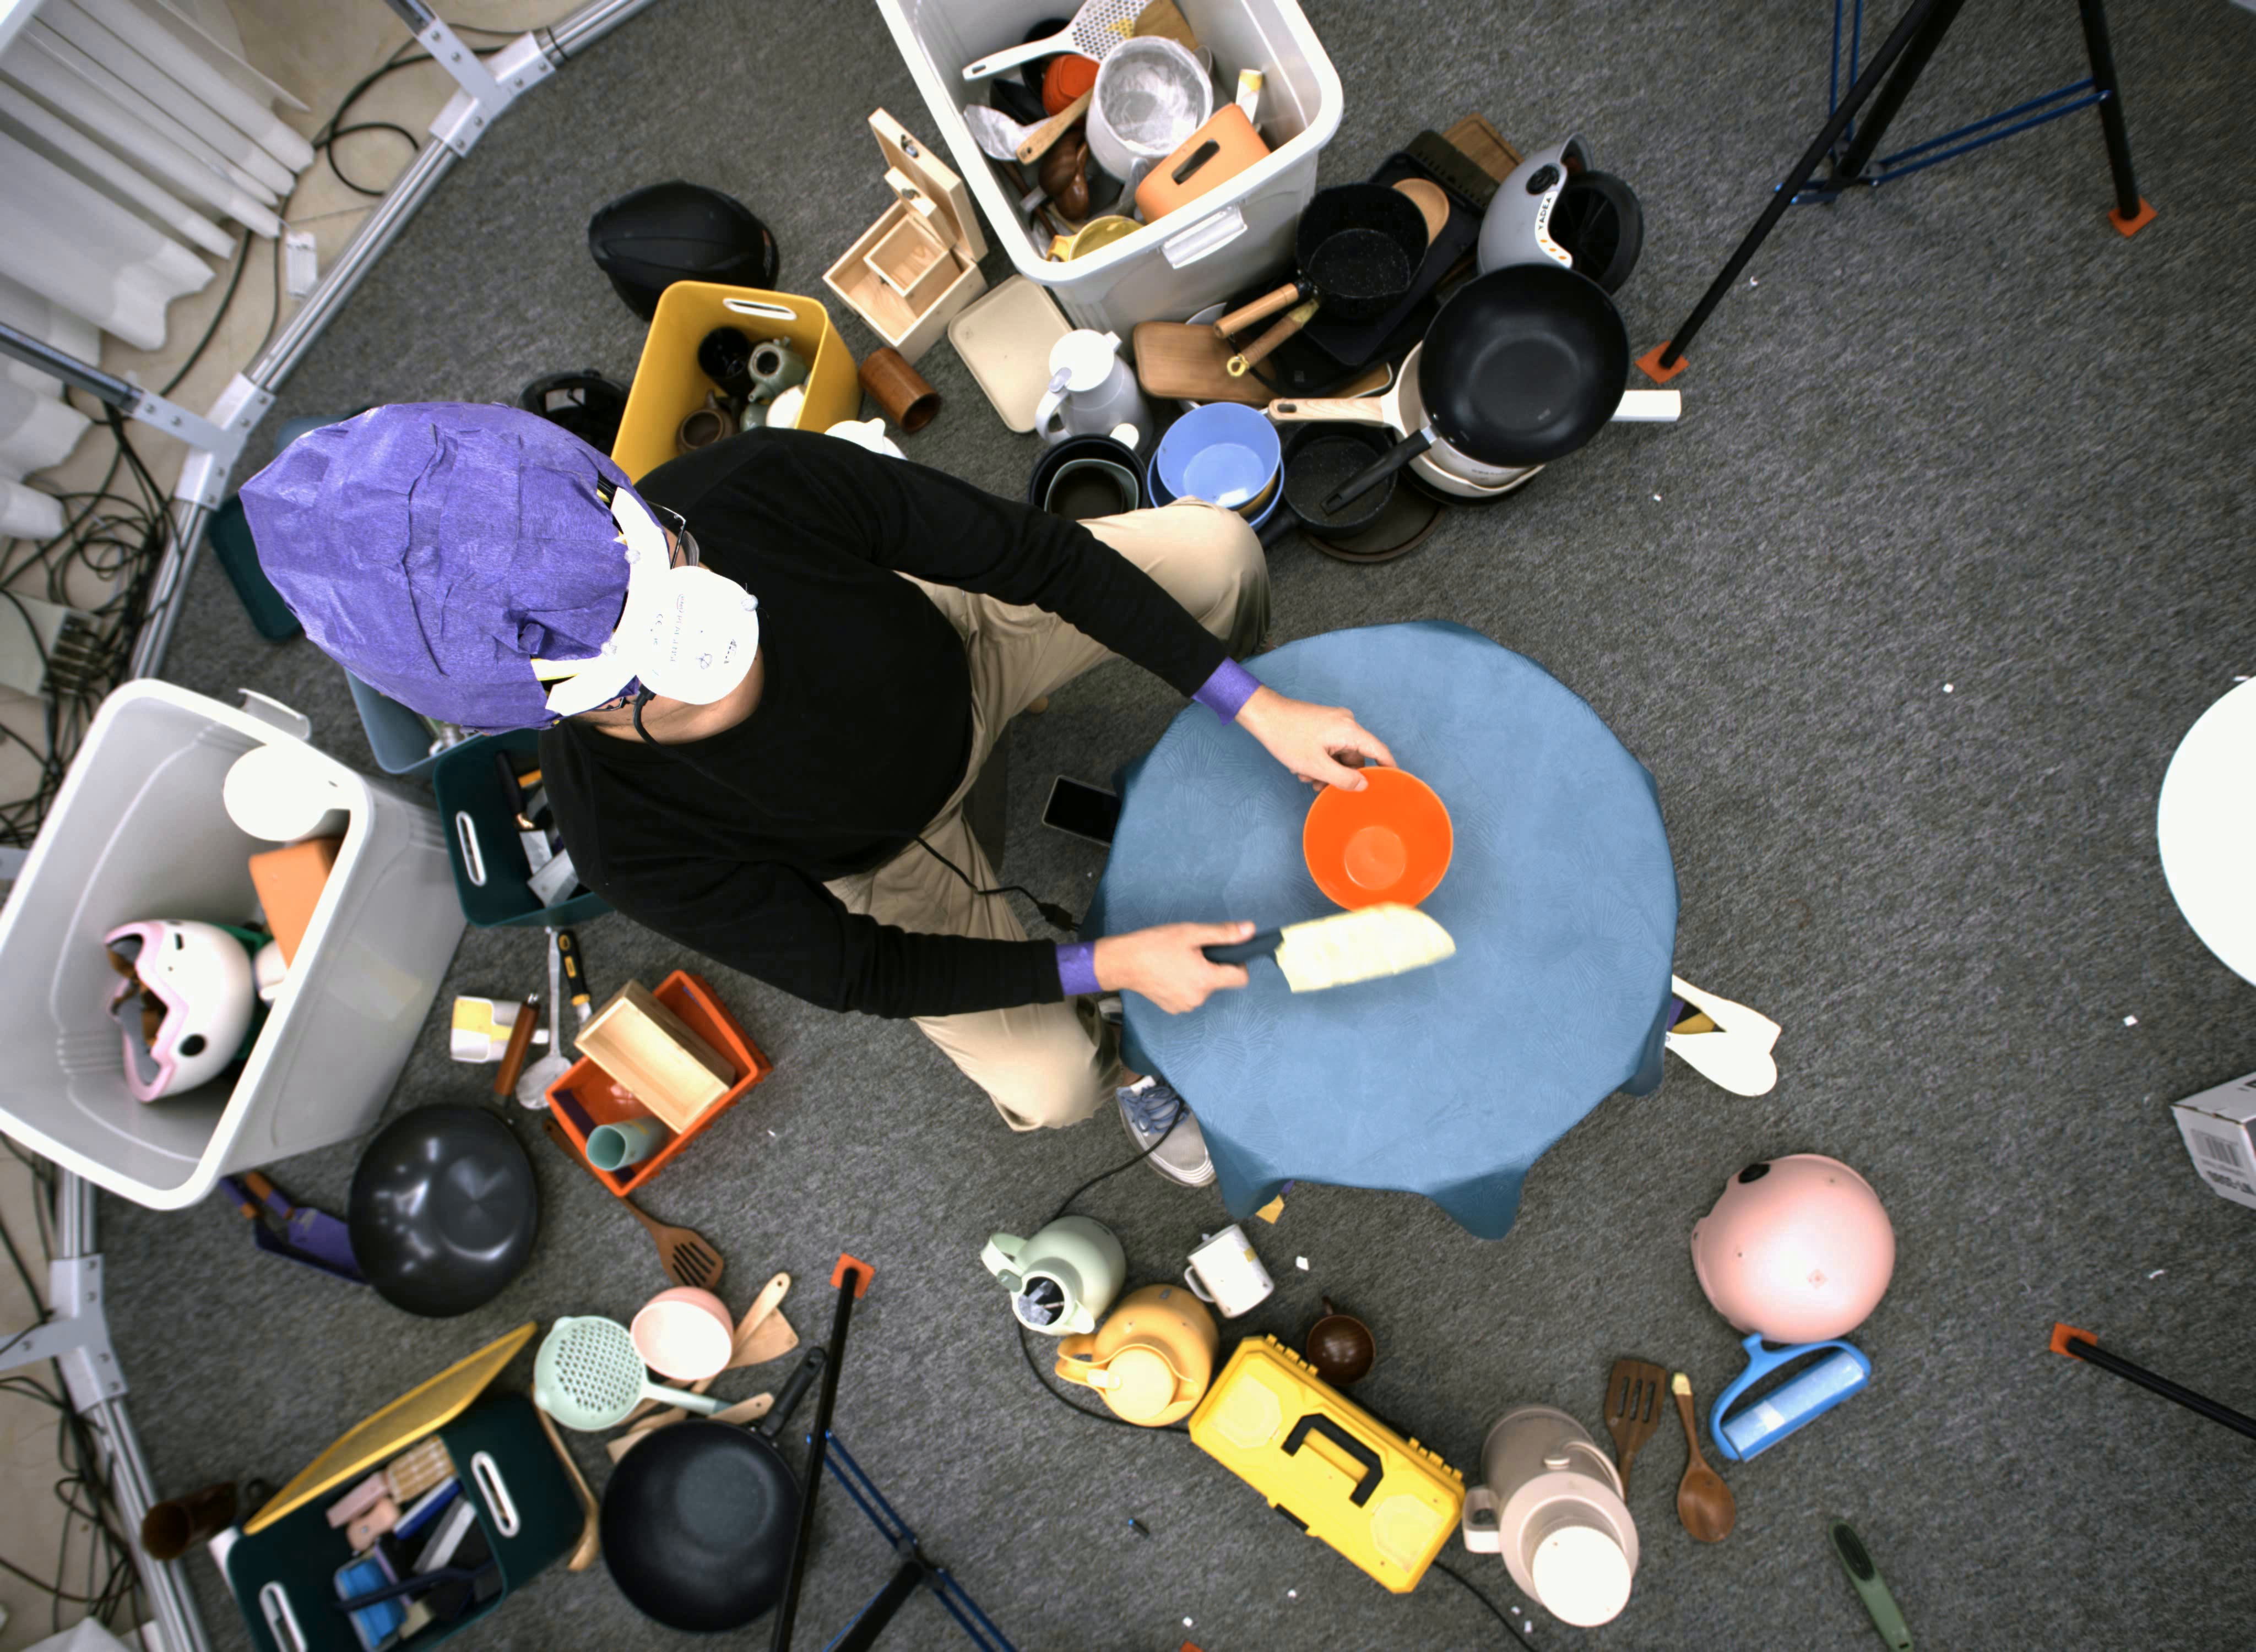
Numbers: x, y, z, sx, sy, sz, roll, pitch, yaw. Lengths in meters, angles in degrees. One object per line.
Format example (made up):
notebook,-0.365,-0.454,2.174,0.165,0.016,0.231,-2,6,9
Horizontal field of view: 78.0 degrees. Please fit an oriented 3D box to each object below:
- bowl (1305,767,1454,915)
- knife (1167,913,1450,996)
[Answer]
bowl,0.256,0.018,1.415,0.148,0.104,0.147,-1,87,9
knife,0.178,0.134,1.390,0.292,0.026,0.082,-9,115,22
